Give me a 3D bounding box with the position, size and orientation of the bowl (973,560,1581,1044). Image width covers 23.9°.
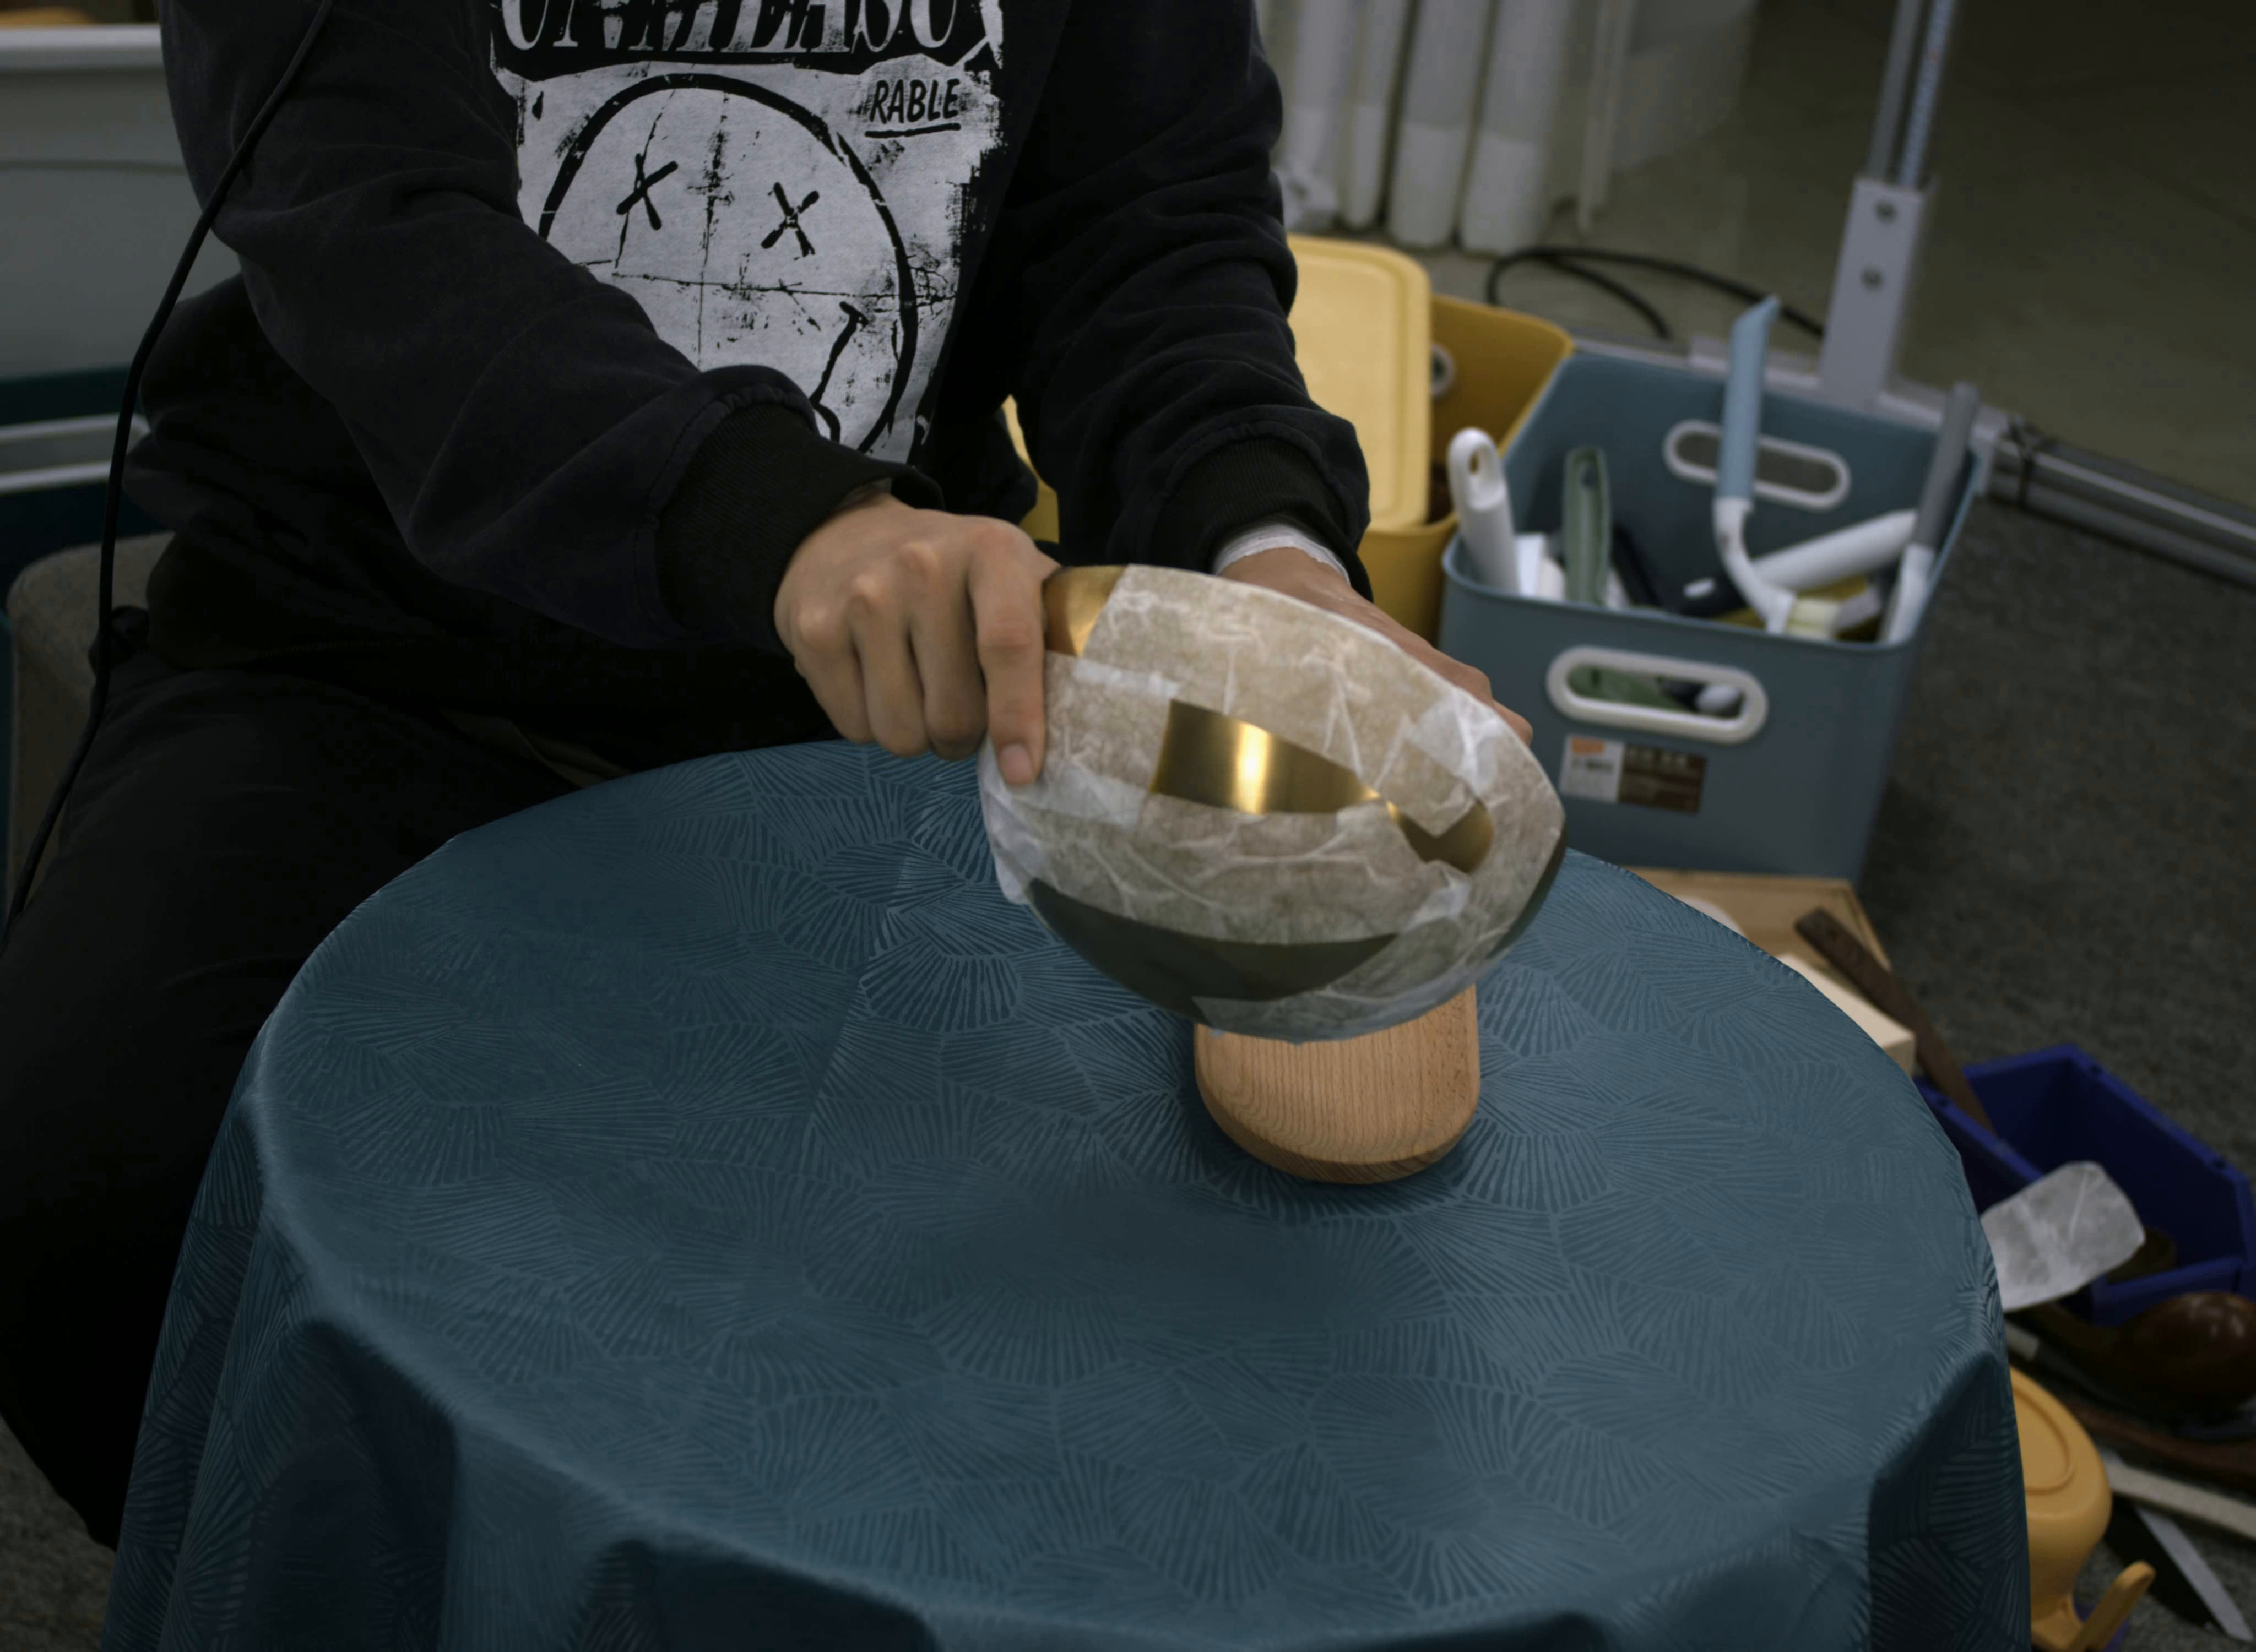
[{"bbox_3d":[0.034,0.011,1.714,0.215,0.213,0.095,16,65,17],"label":"bowl"}]

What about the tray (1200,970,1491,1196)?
[{"bbox_3d":[0.075,0.046,1.896,0.101,0.020,0.233,4,43,-4],"label":"tray"}]
